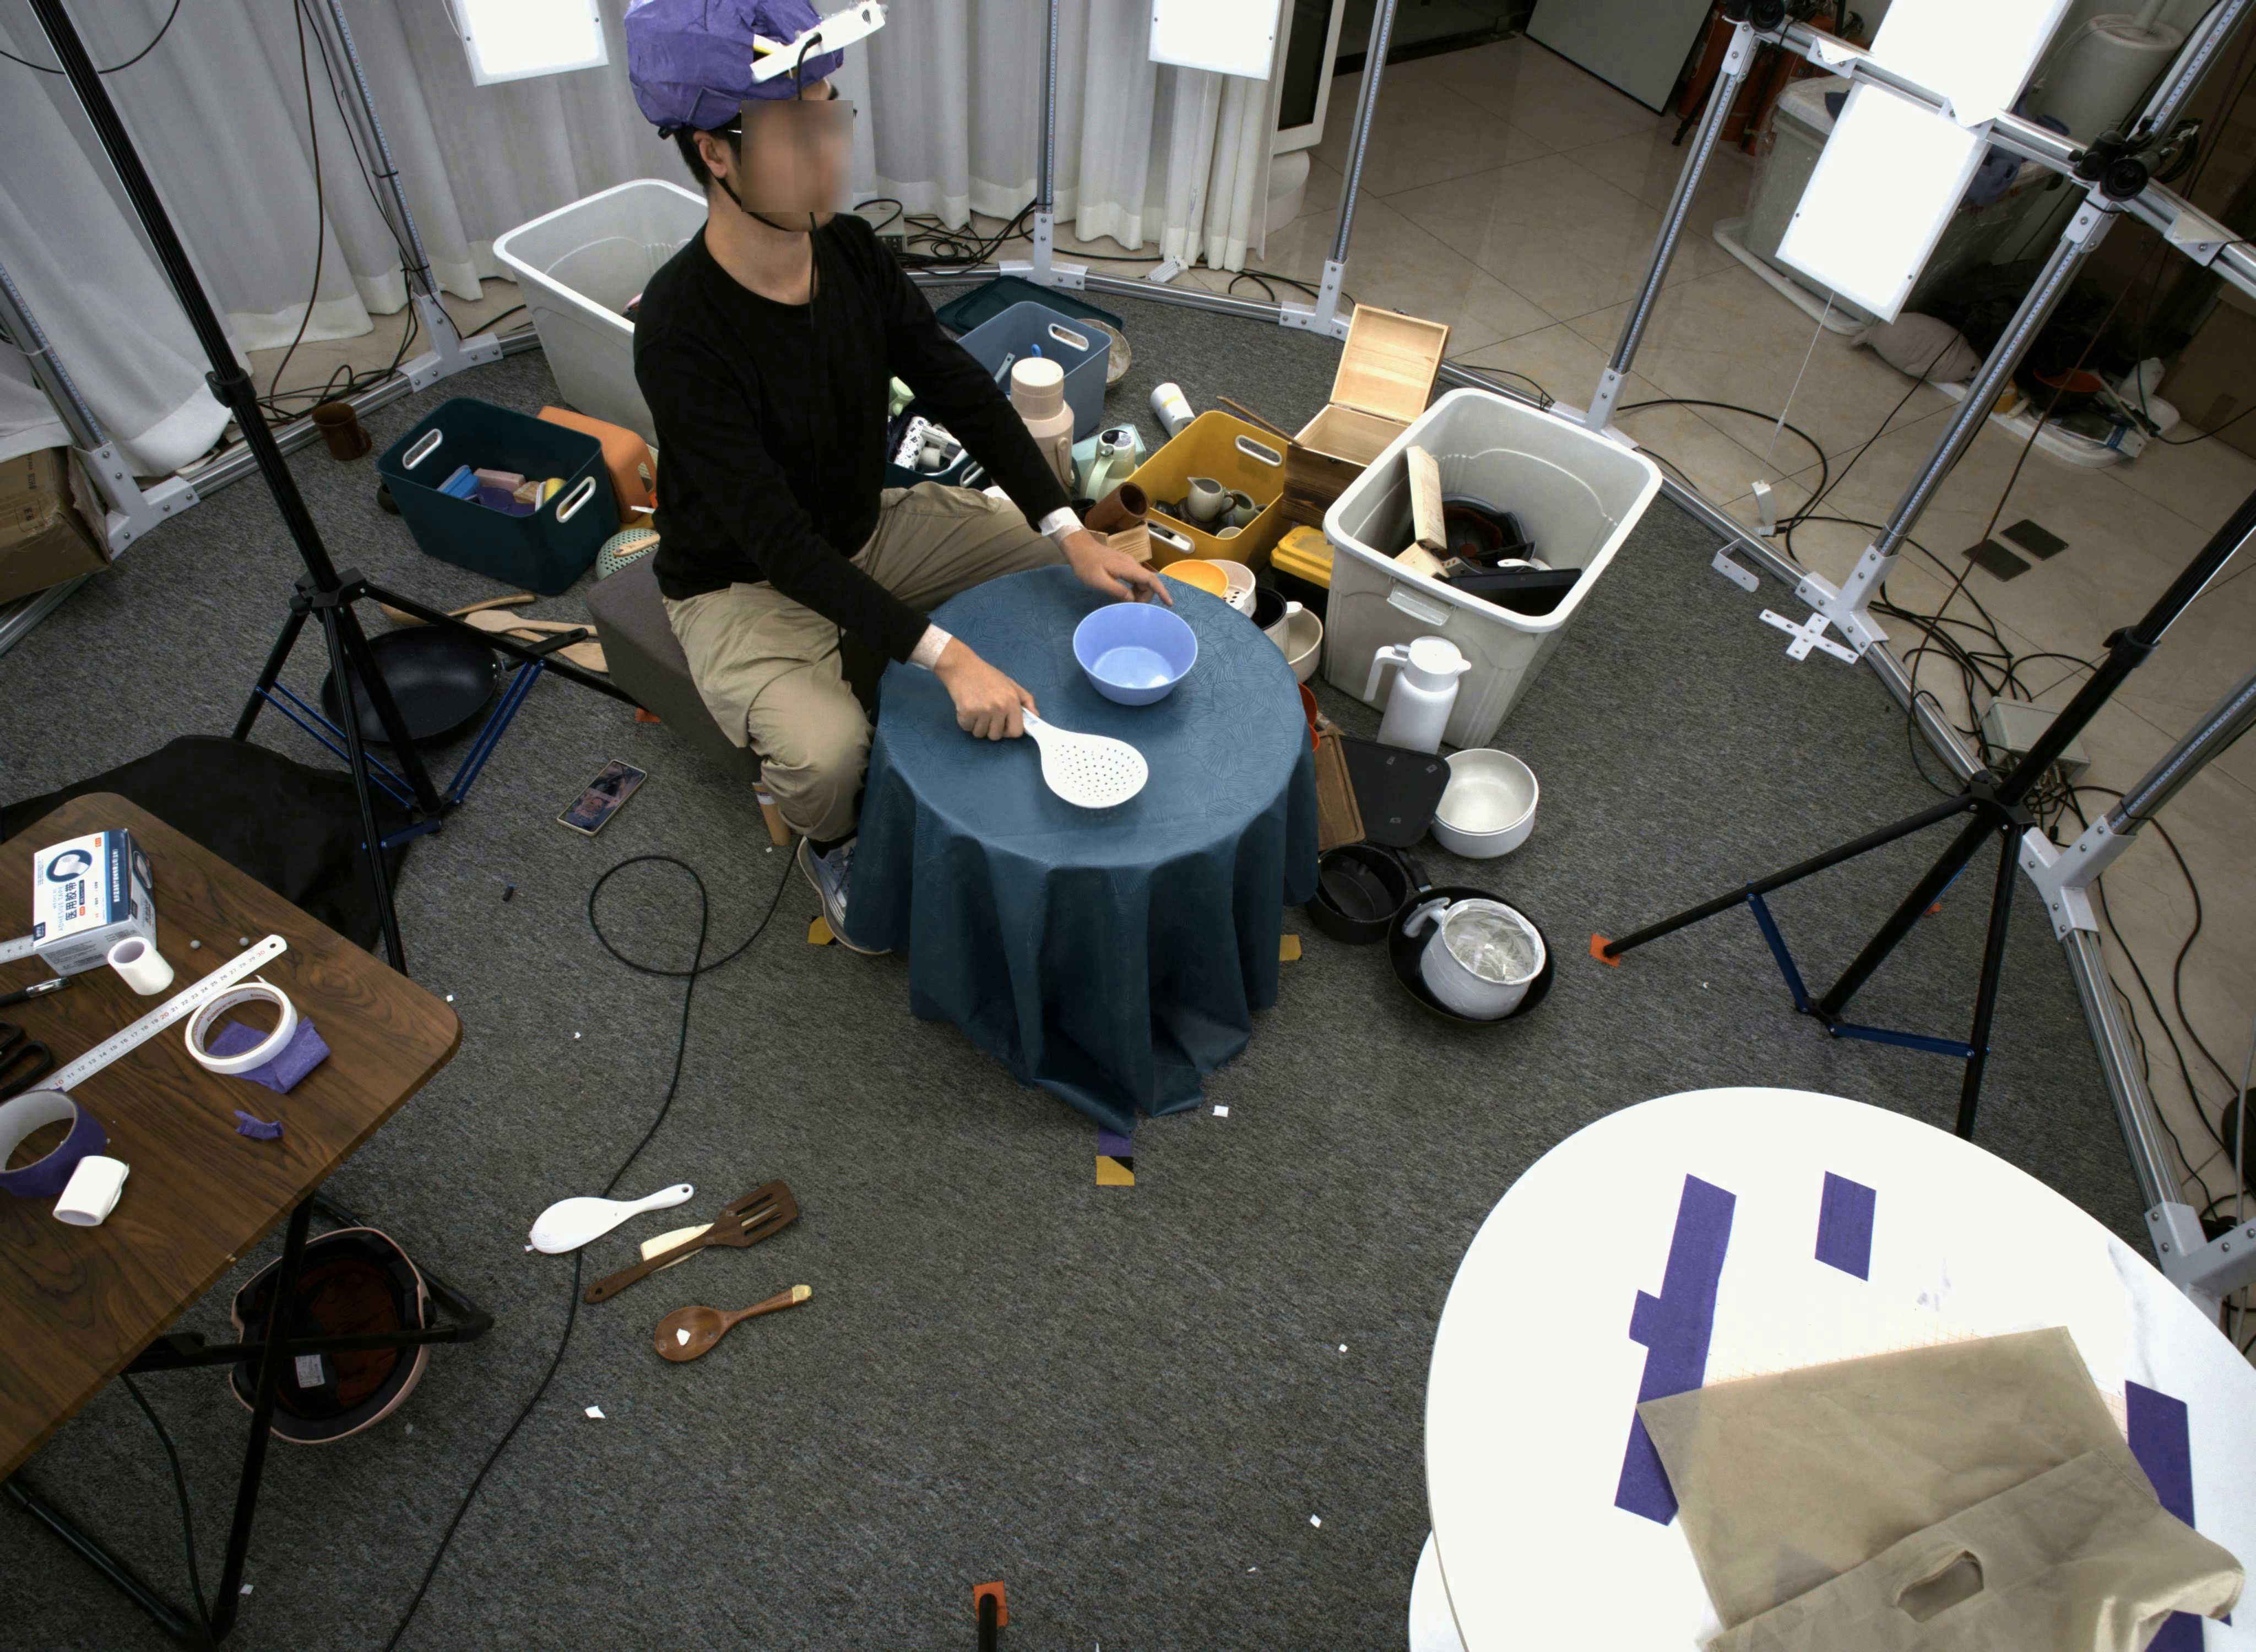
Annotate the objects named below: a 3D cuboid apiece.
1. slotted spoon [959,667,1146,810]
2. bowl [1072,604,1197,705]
[{"bbox_3d":[-0.116,-0.125,1.741,0.137,0.044,0.355,-32,57,-28],"label":"slotted spoon"},{"bbox_3d":[0.008,-0.236,1.830,0.176,0.068,0.180,1,49,-2],"label":"bowl"}]
